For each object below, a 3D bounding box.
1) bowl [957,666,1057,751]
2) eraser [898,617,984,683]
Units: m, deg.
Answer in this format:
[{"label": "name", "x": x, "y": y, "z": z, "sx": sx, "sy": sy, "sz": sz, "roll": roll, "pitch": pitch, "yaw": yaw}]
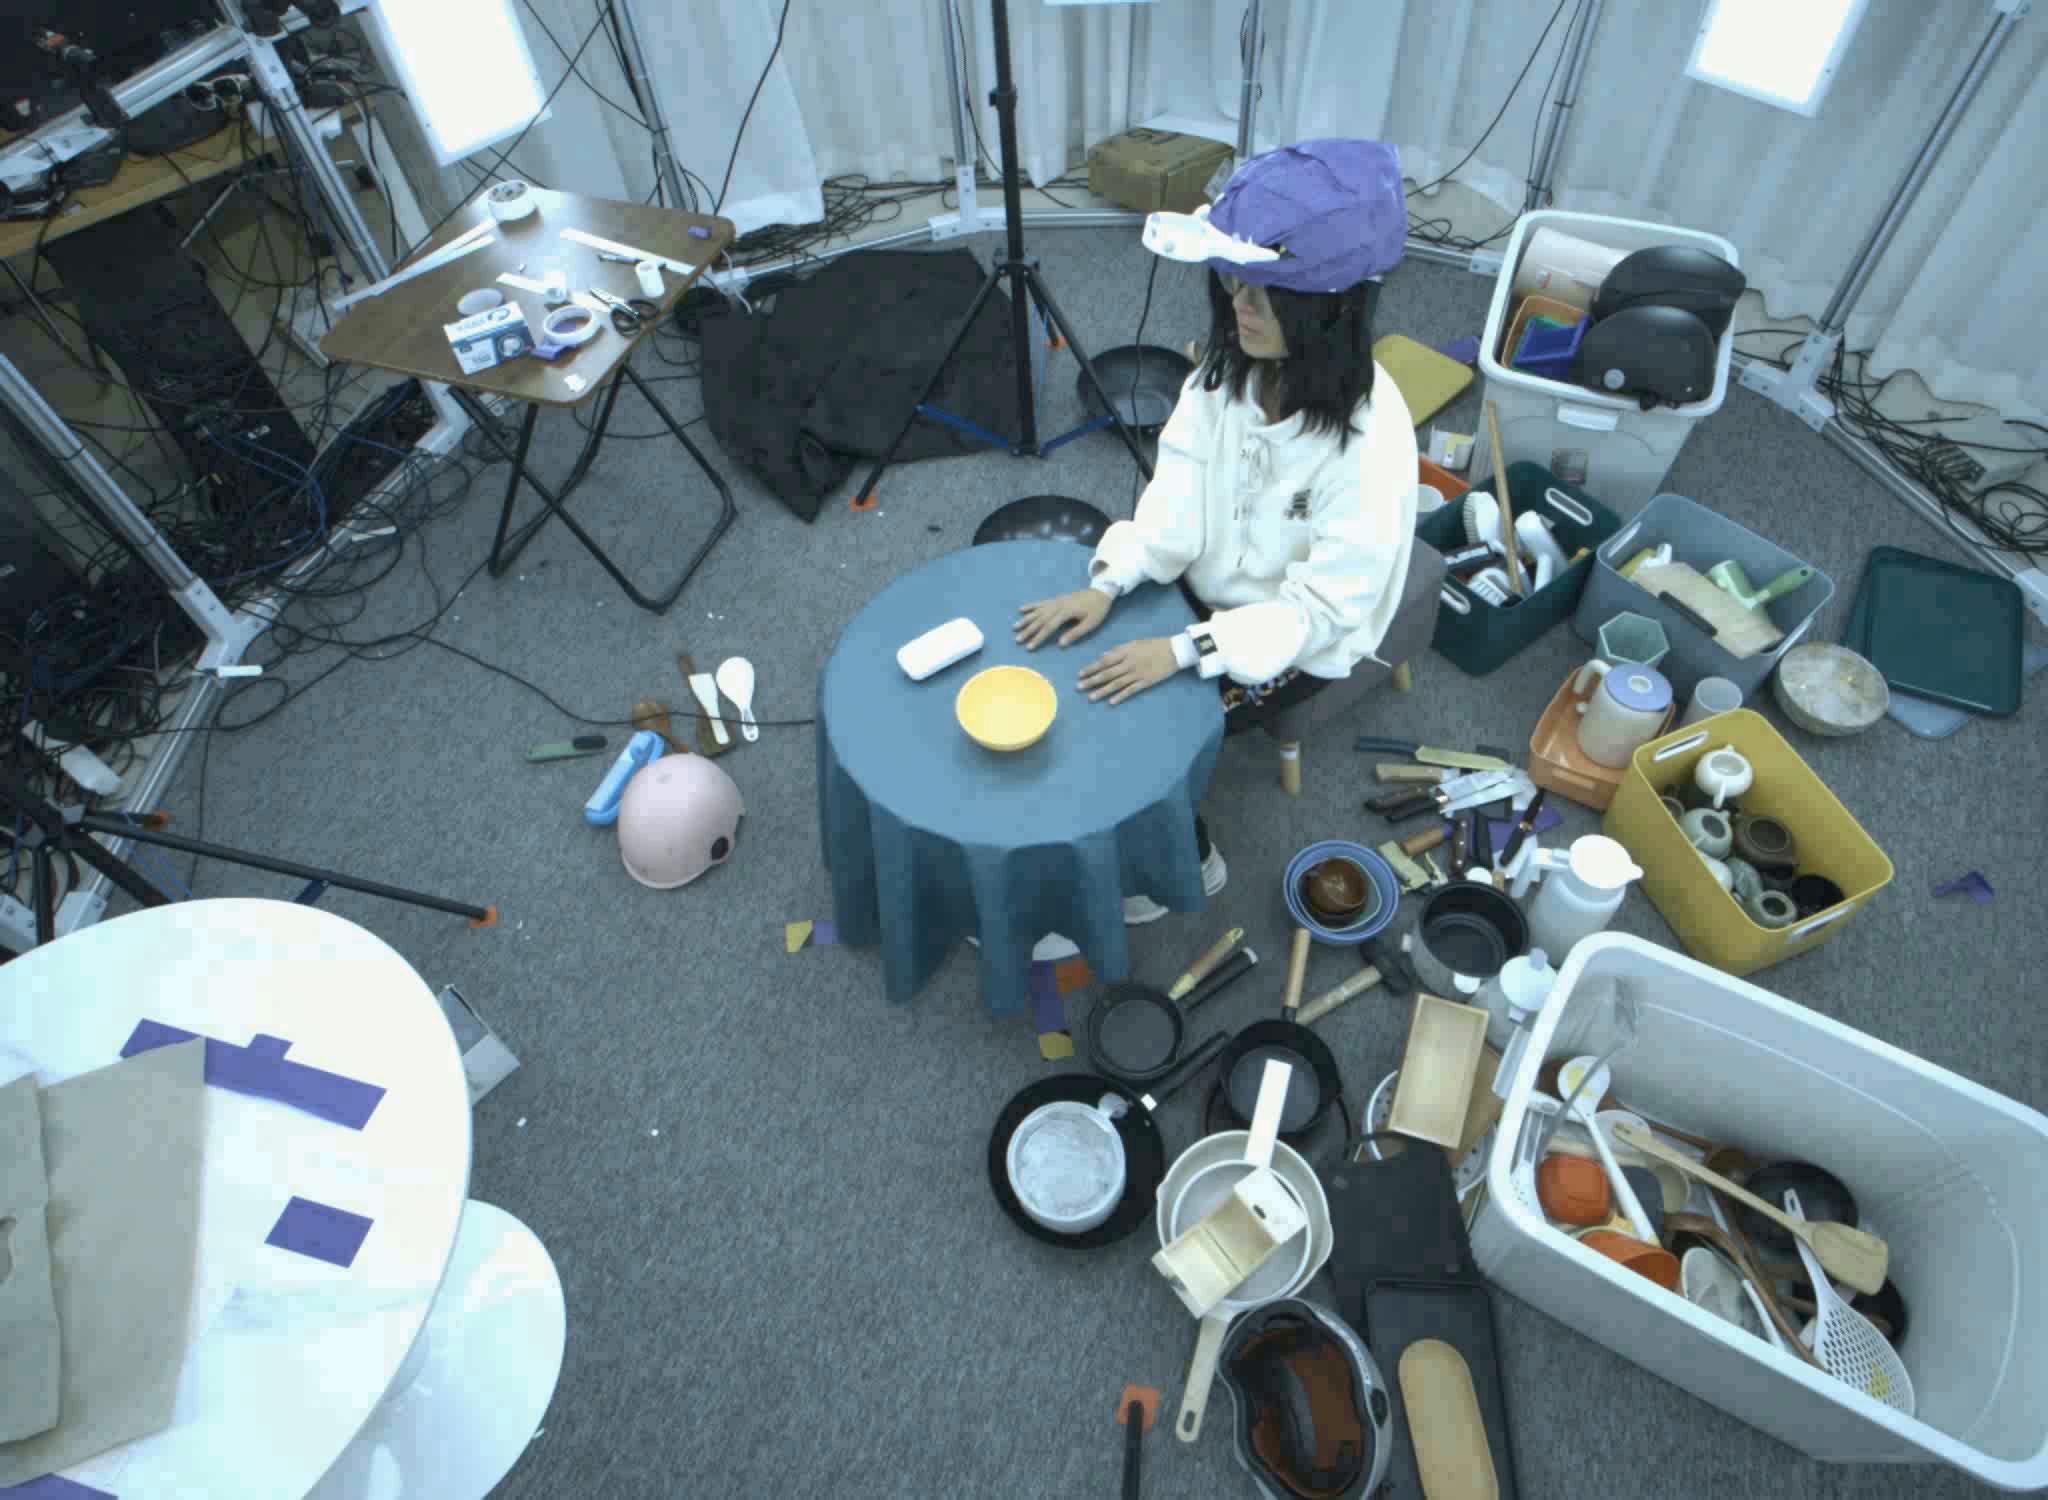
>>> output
[{"label": "bowl", "x": -0.021, "y": -0.048, "z": 1.788, "sx": 0.145, "sy": 0.061, "sz": 0.144, "roll": -2, "pitch": 55, "yaw": 4}, {"label": "eraser", "x": -0.126, "y": -0.154, "z": 1.882, "sx": 0.132, "sy": 0.035, "sz": 0.062, "roll": -31, "pitch": 61, "yaw": -17}]
